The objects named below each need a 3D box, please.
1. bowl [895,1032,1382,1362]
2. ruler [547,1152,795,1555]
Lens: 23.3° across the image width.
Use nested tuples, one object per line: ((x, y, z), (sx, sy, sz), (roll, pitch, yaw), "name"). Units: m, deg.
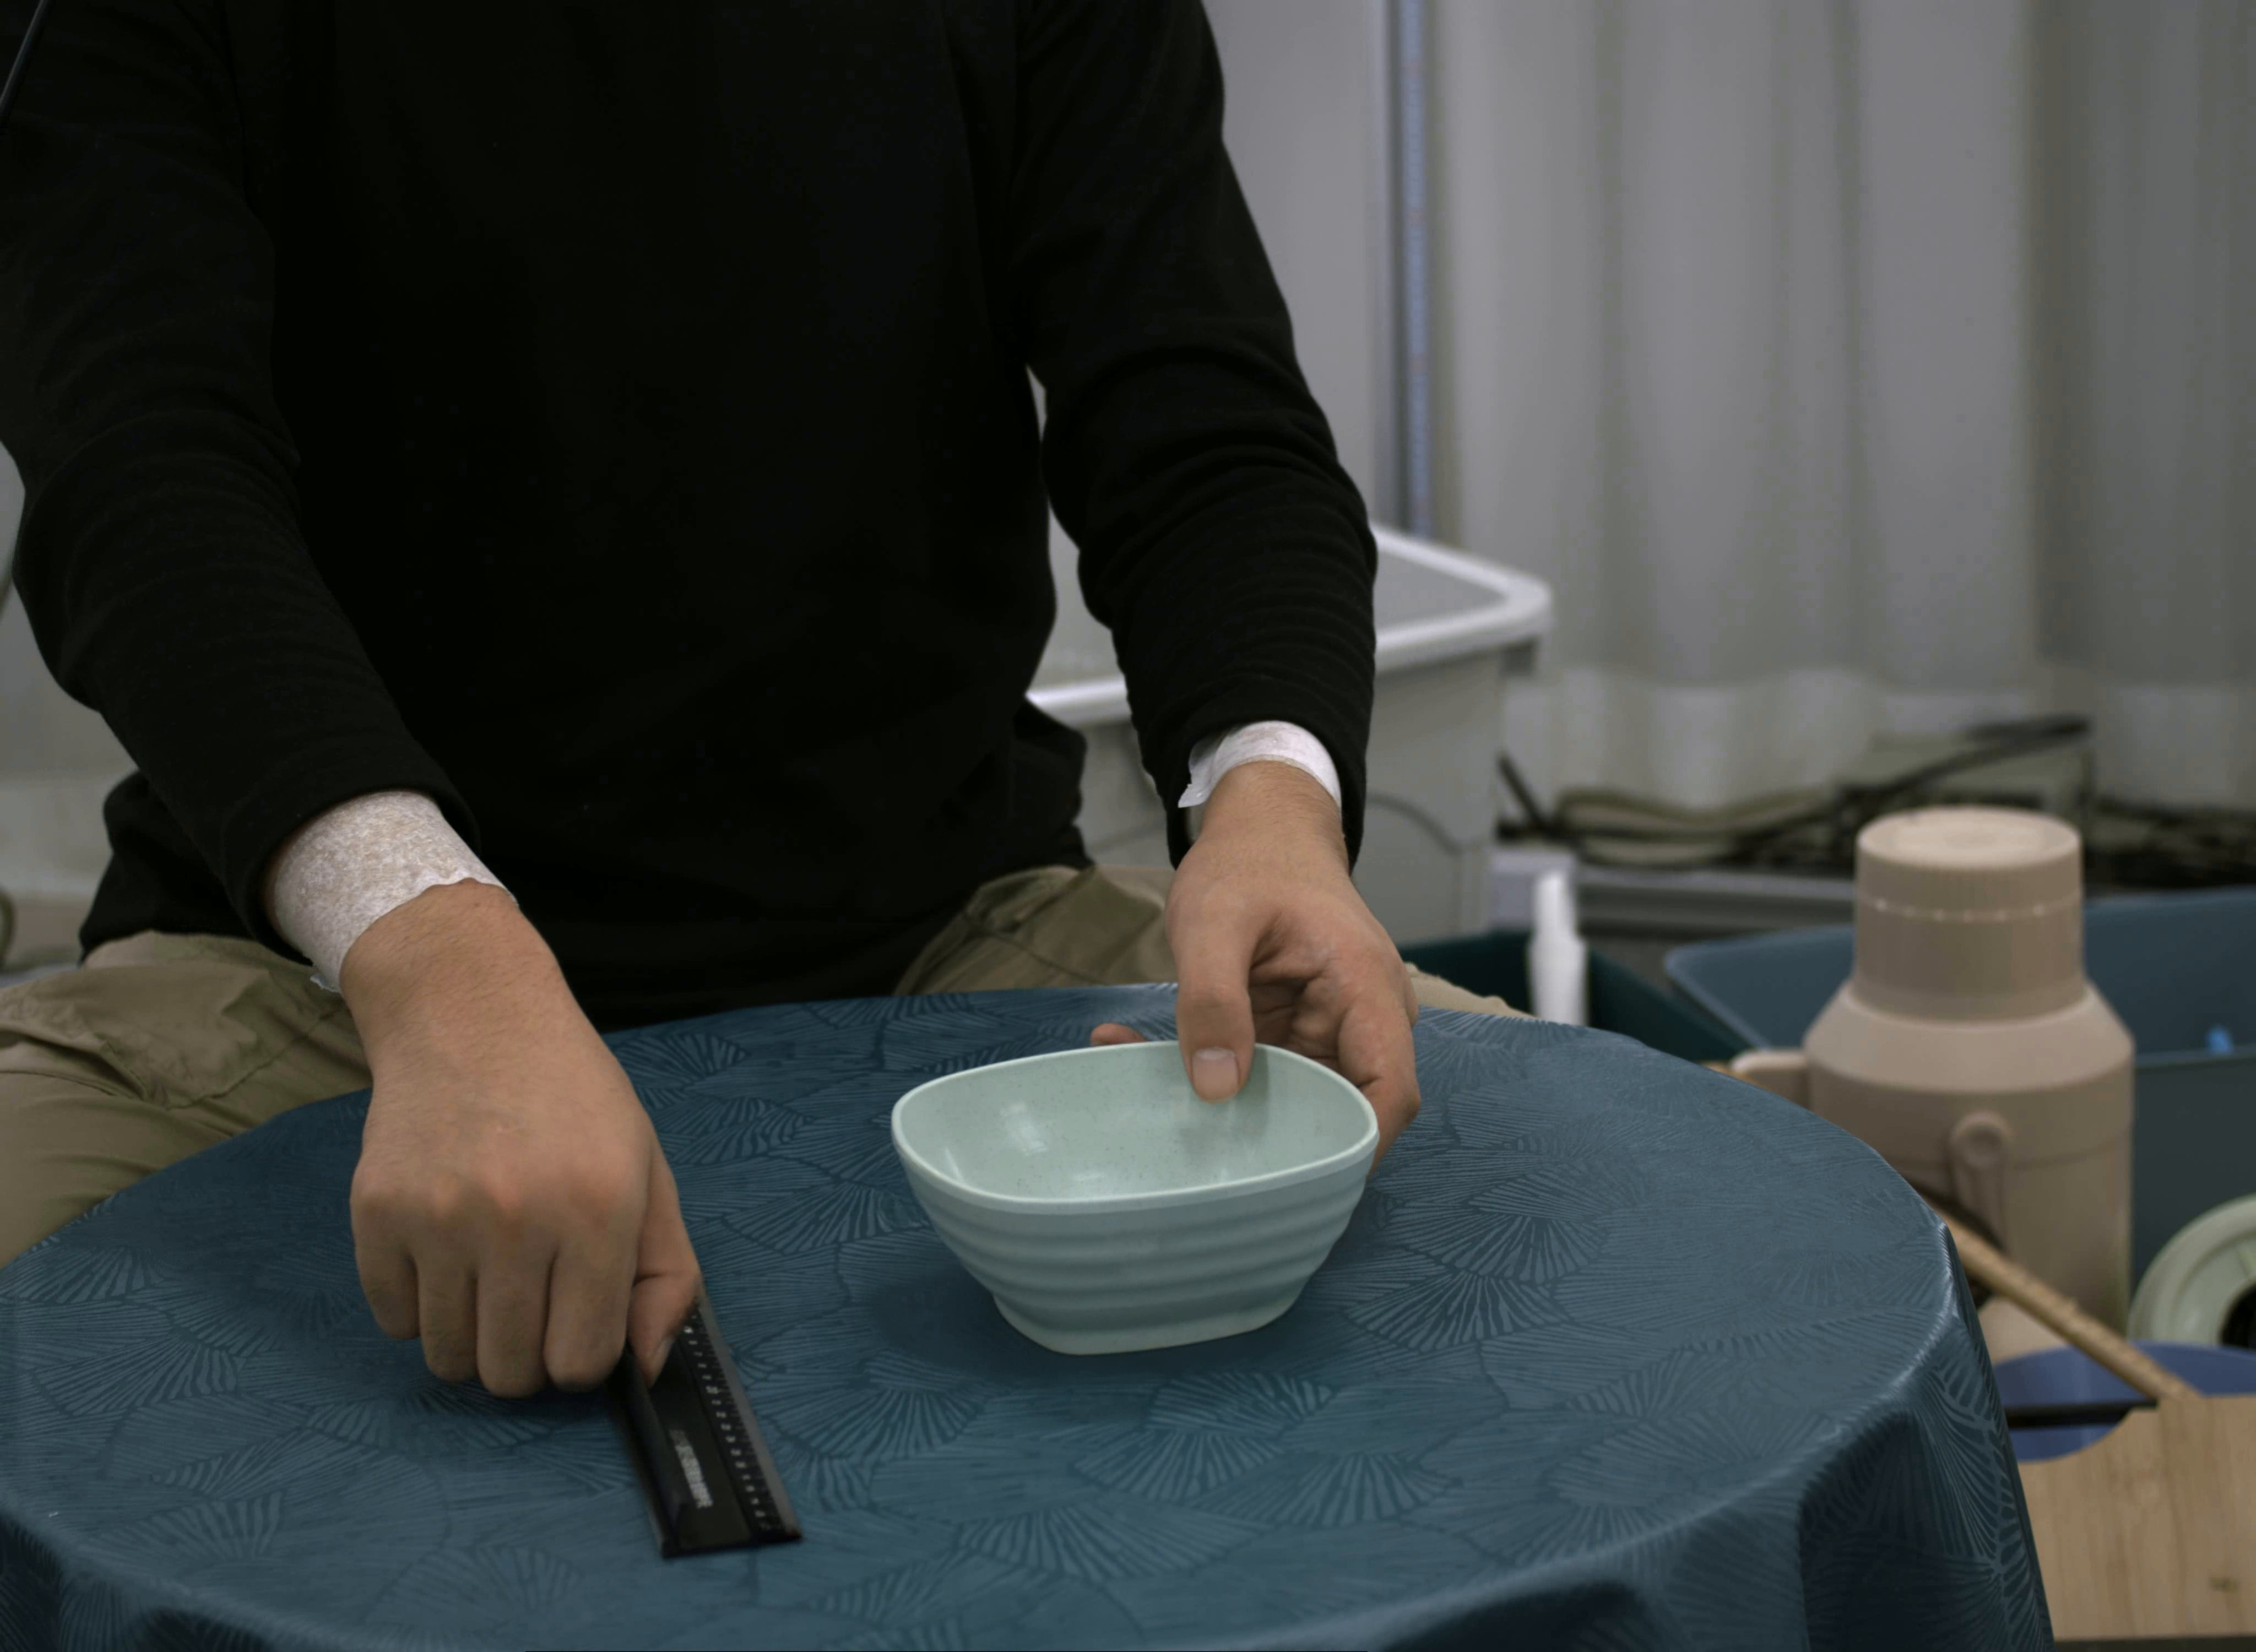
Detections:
((0.004, 0.113, 1.611), (0.151, 0.058, 0.152), (-3, 17, 1), "bowl")
((-0.135, 0.147, 1.589), (0.039, 0.017, 0.315), (-3, 15, -11), "ruler")
